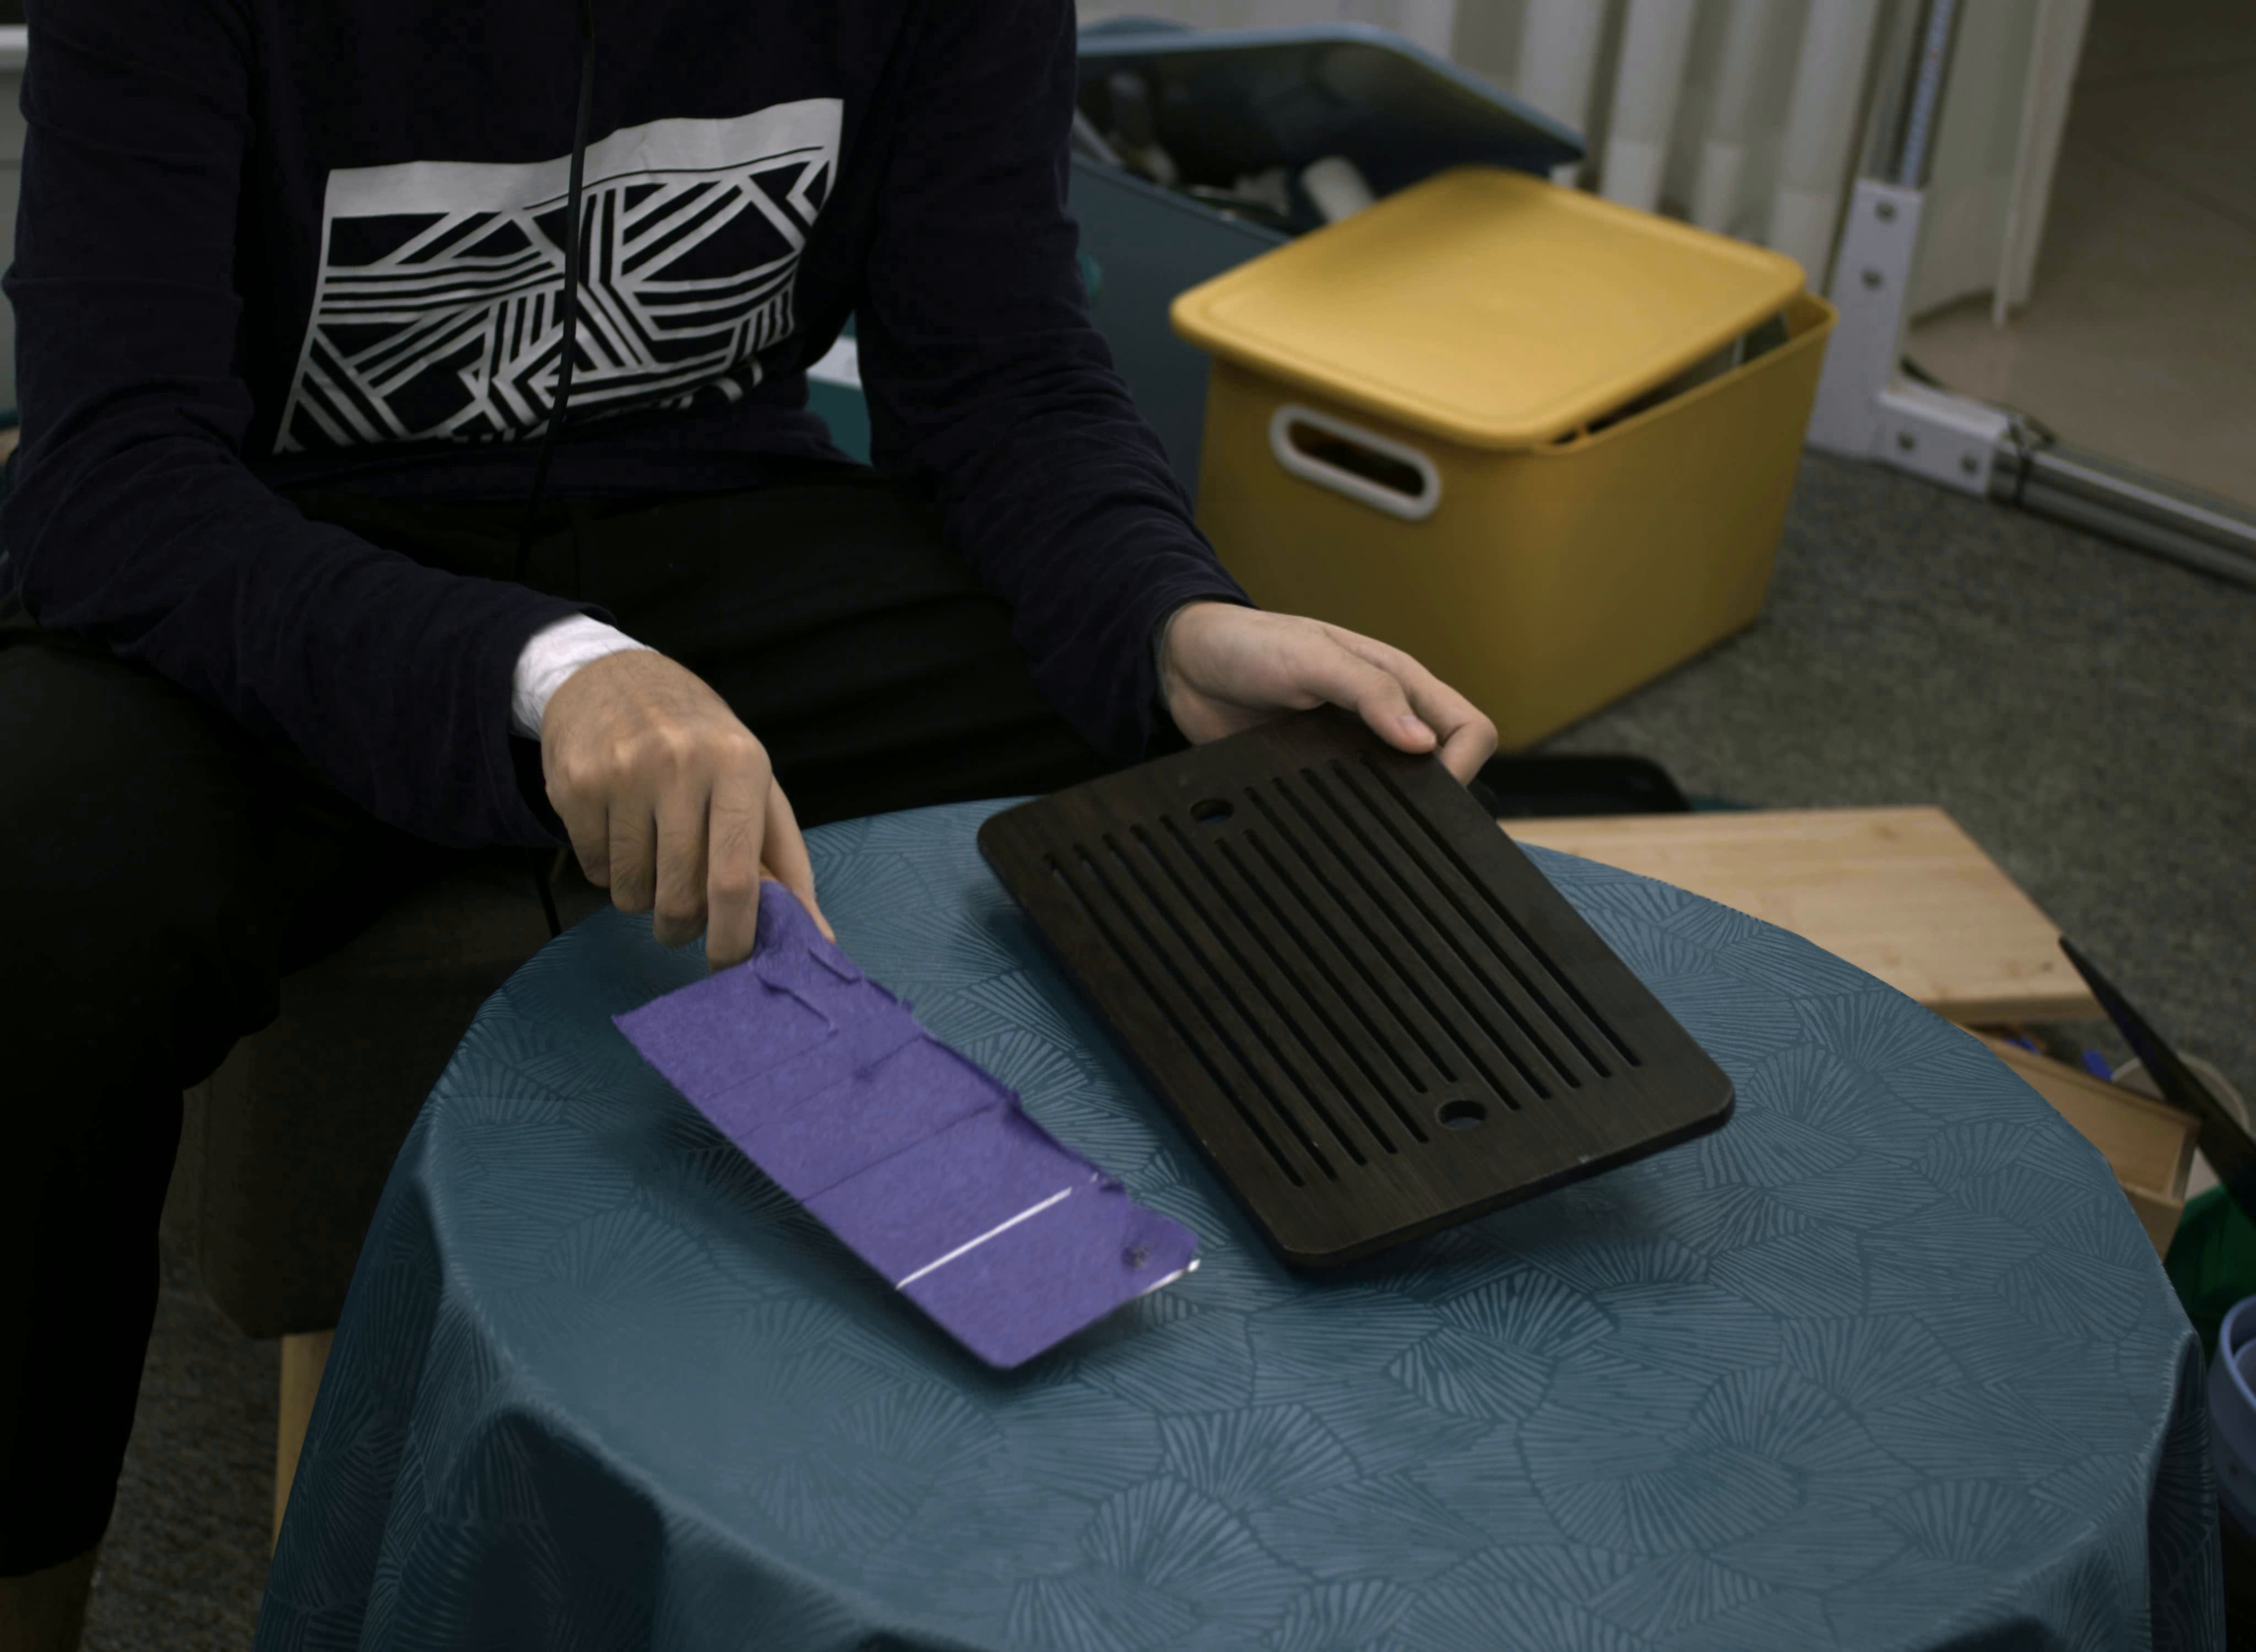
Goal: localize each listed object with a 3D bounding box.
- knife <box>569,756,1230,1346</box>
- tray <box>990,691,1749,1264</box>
[{"bbox_3d":[-0.106,0.071,1.791,0.103,0.032,0.318,-24,45,-35],"label":"knife"},{"bbox_3d":[0.080,0.050,1.896,0.169,0.018,0.309,-18,35,-15],"label":"tray"}]
